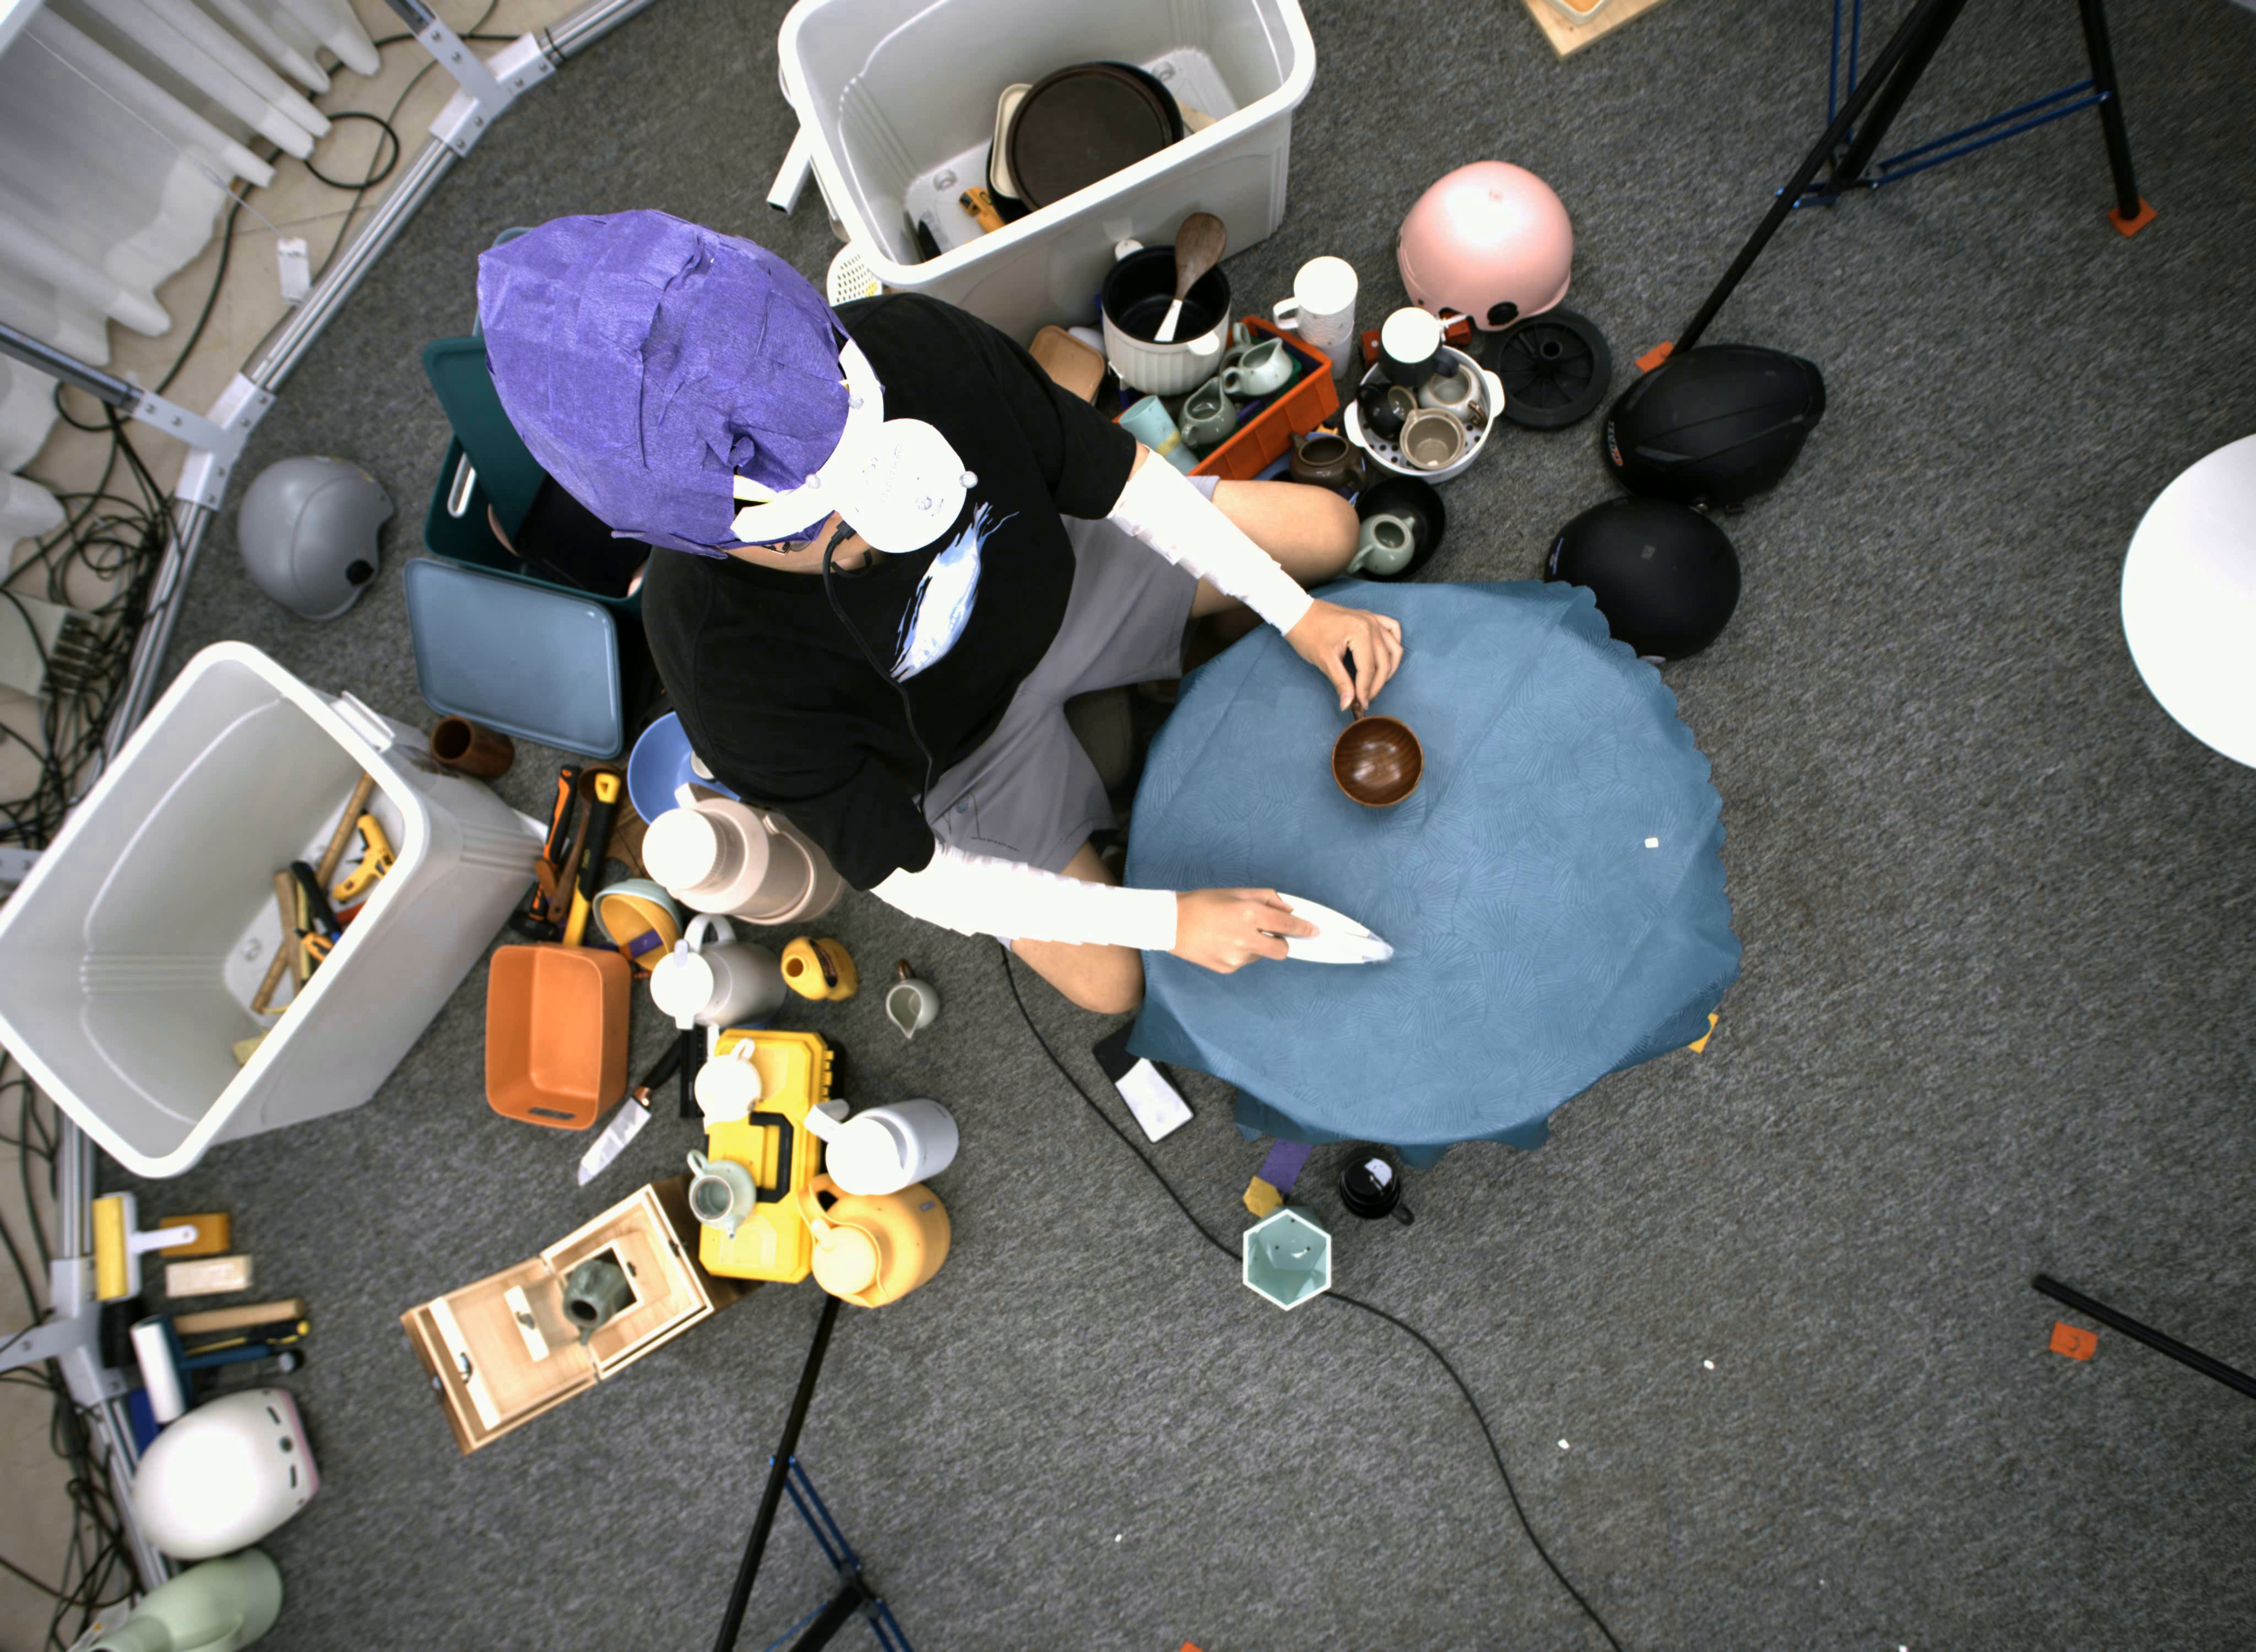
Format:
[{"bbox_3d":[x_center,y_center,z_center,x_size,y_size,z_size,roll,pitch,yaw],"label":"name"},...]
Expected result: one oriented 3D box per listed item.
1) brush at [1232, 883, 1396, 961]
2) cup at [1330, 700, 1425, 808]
[{"bbox_3d":[0.192,0.108,1.422,0.176,0.093,0.062,16,95,6],"label":"brush"},{"bbox_3d":[0.257,-0.077,1.435,0.097,0.068,0.118,-22,82,11],"label":"cup"}]
